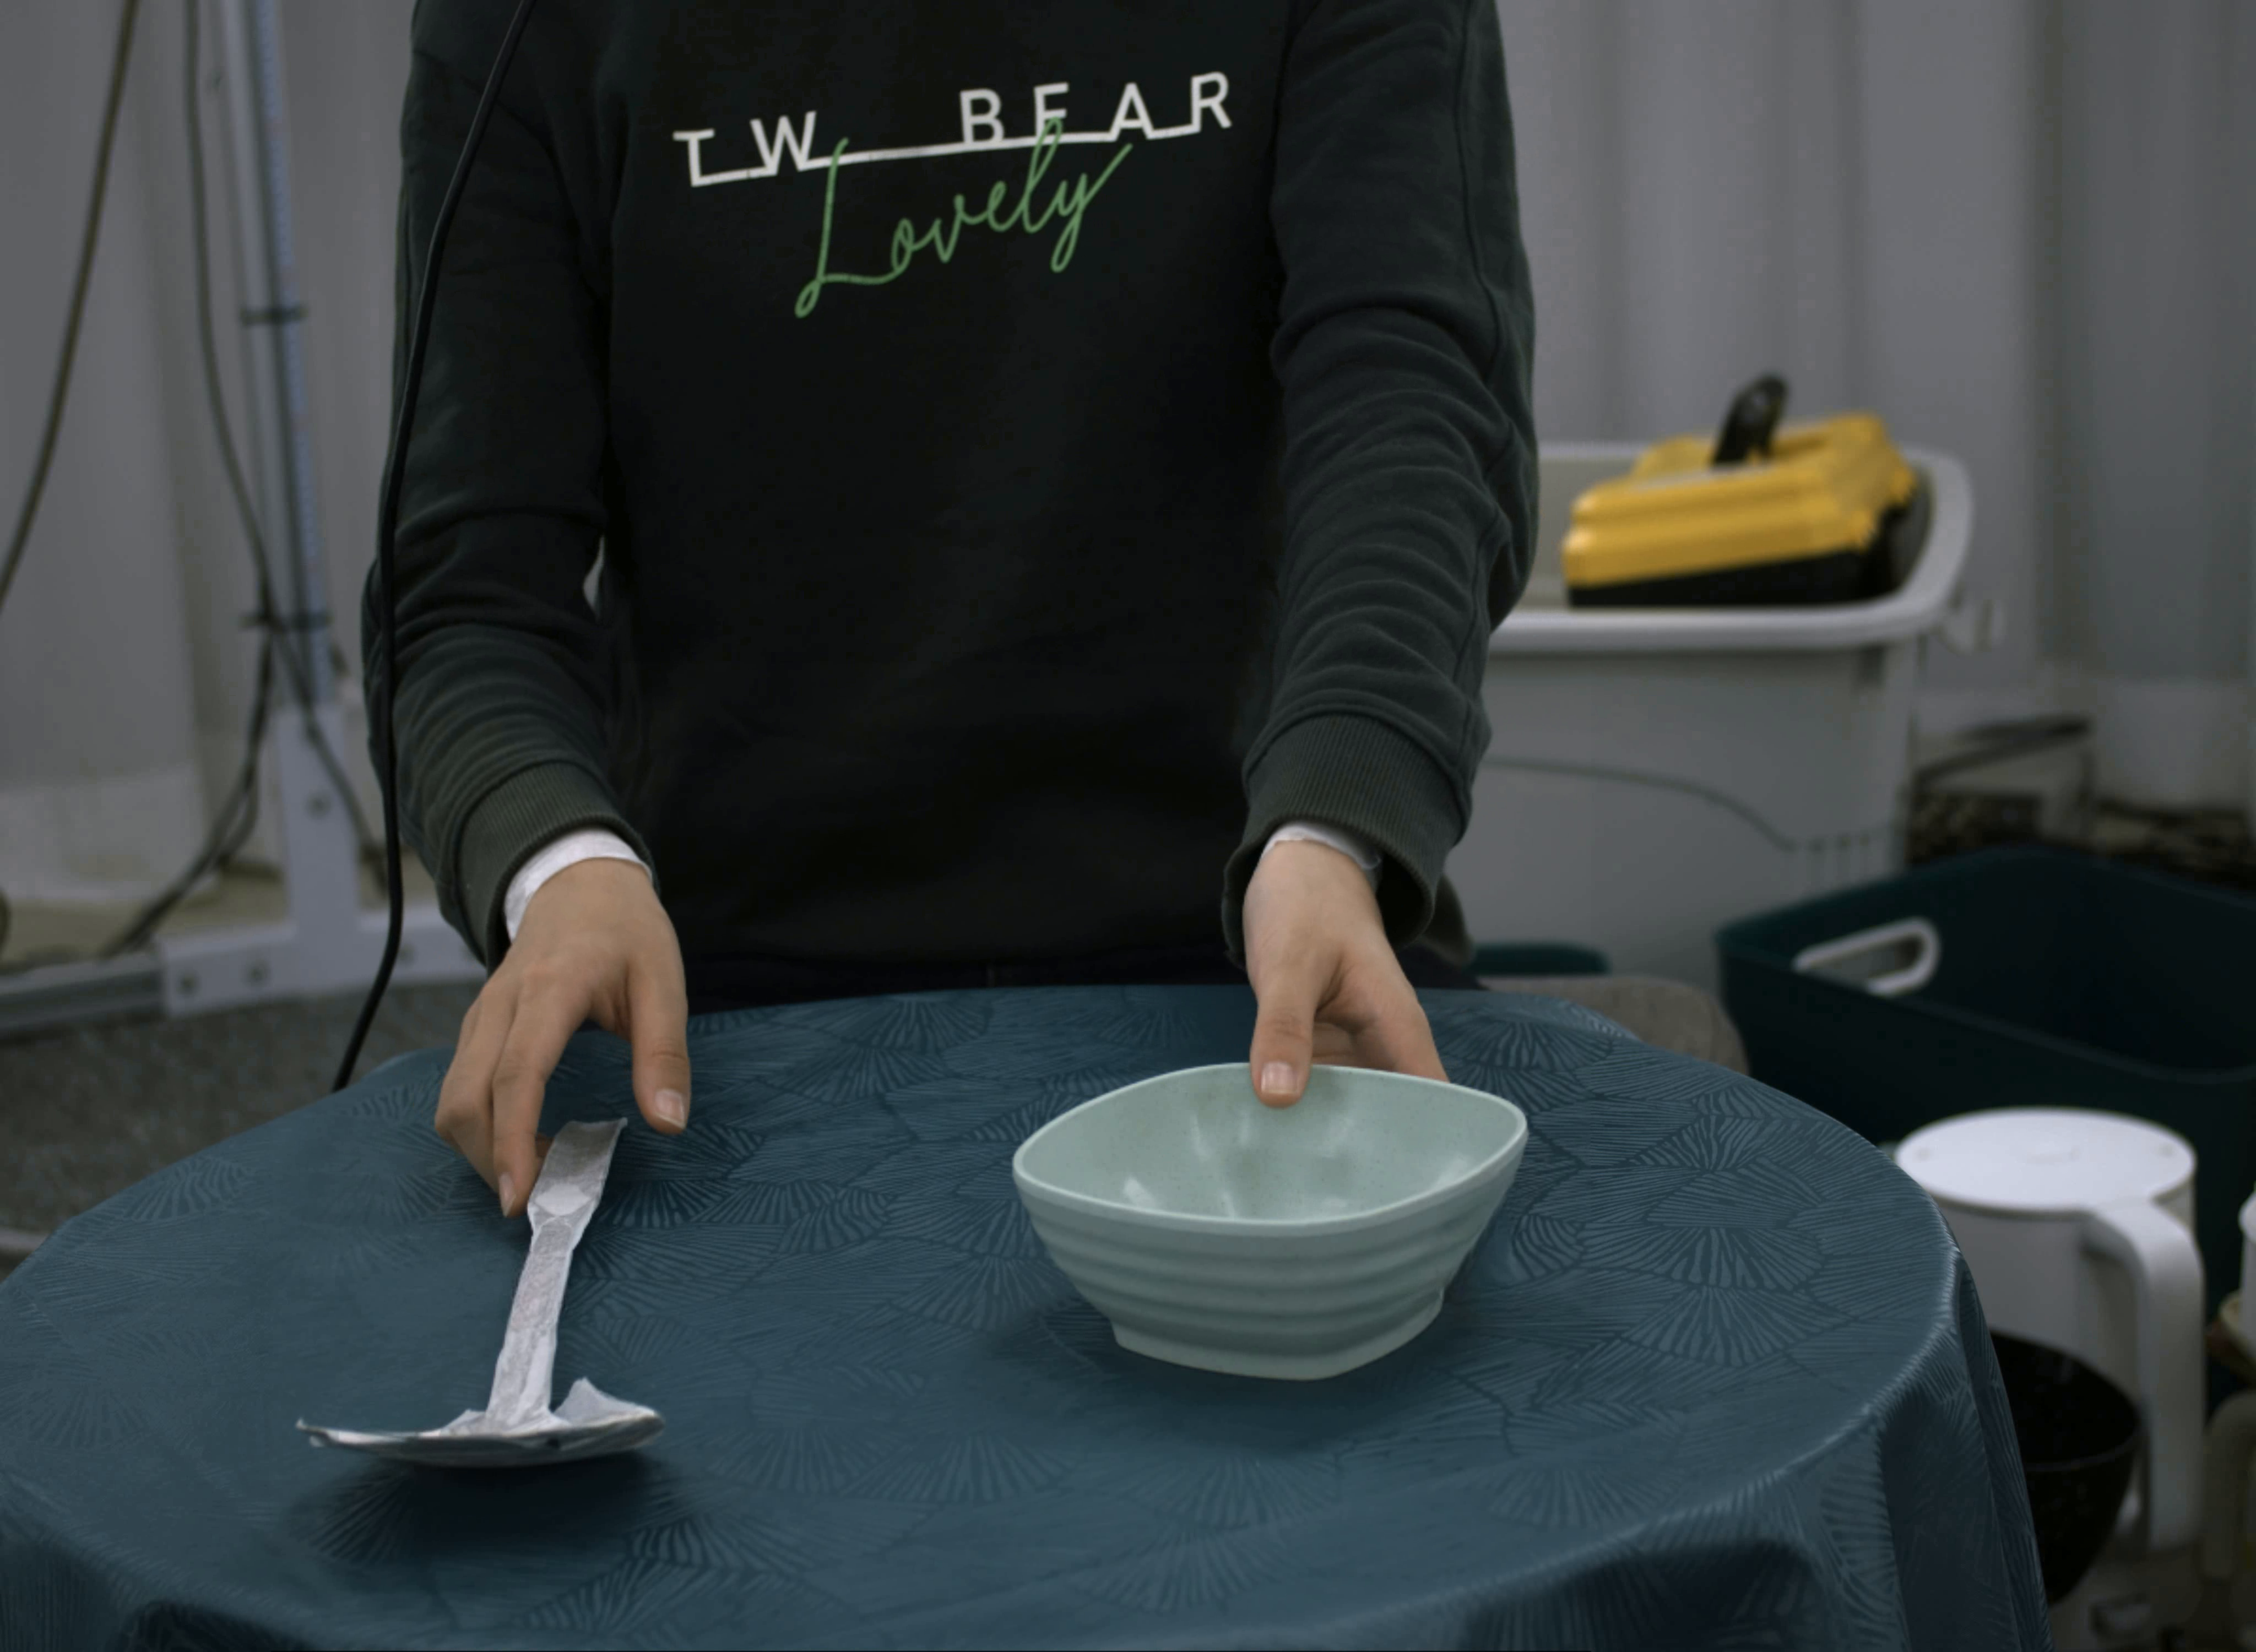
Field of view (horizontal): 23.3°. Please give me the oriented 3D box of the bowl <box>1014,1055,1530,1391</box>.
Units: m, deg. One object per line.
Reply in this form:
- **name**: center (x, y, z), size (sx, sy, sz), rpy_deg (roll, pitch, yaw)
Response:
- **bowl**: center (0.042, 0.119, 1.586), size (0.151, 0.058, 0.152), rpy_deg (-1, 17, 0)

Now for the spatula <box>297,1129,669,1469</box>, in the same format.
- **spatula**: center (-0.169, 0.130, 1.613), size (0.098, 0.044, 0.367), rpy_deg (-4, 15, 2)
